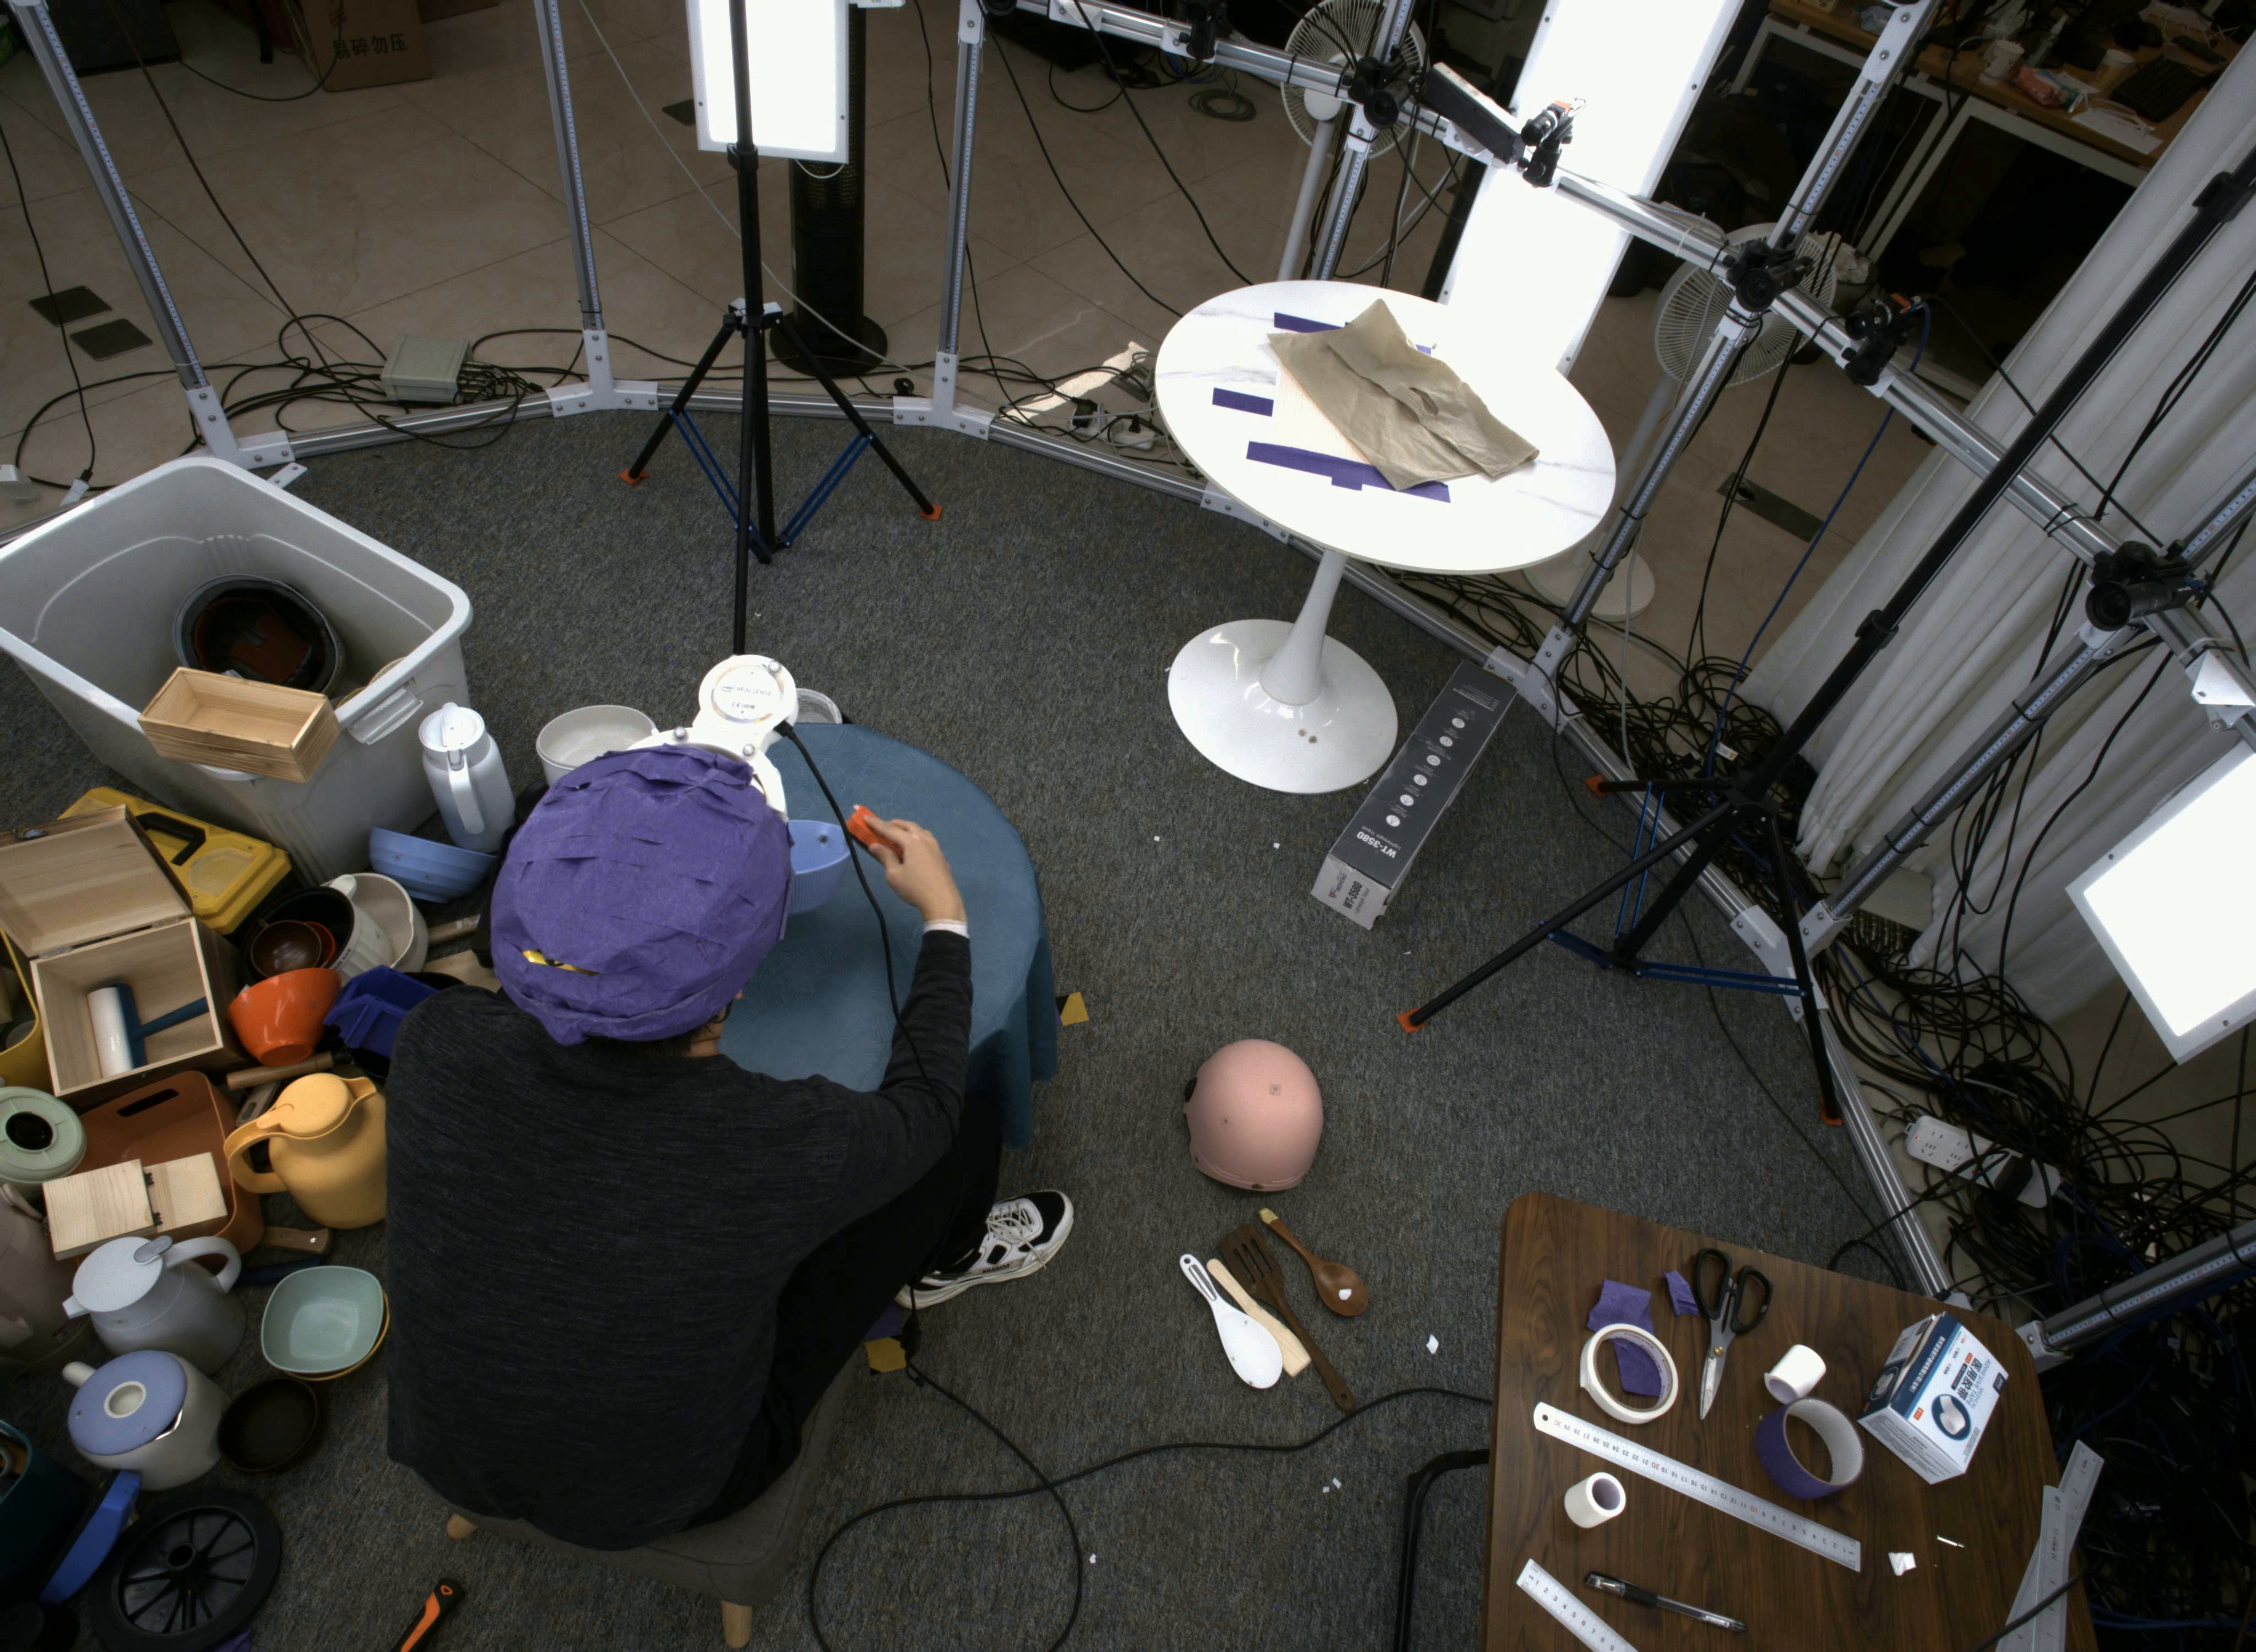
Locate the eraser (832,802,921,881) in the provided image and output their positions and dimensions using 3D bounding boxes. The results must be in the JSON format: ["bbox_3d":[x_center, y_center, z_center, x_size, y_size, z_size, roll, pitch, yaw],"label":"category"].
[{"bbox_3d":[-0.301,0.017,1.556,0.109,0.023,0.058,38,16,-13],"label":"eraser"}]

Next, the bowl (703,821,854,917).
[{"bbox_3d":[-0.412,0.053,1.539,0.174,0.072,0.173,1,21,1],"label":"bowl"}]
